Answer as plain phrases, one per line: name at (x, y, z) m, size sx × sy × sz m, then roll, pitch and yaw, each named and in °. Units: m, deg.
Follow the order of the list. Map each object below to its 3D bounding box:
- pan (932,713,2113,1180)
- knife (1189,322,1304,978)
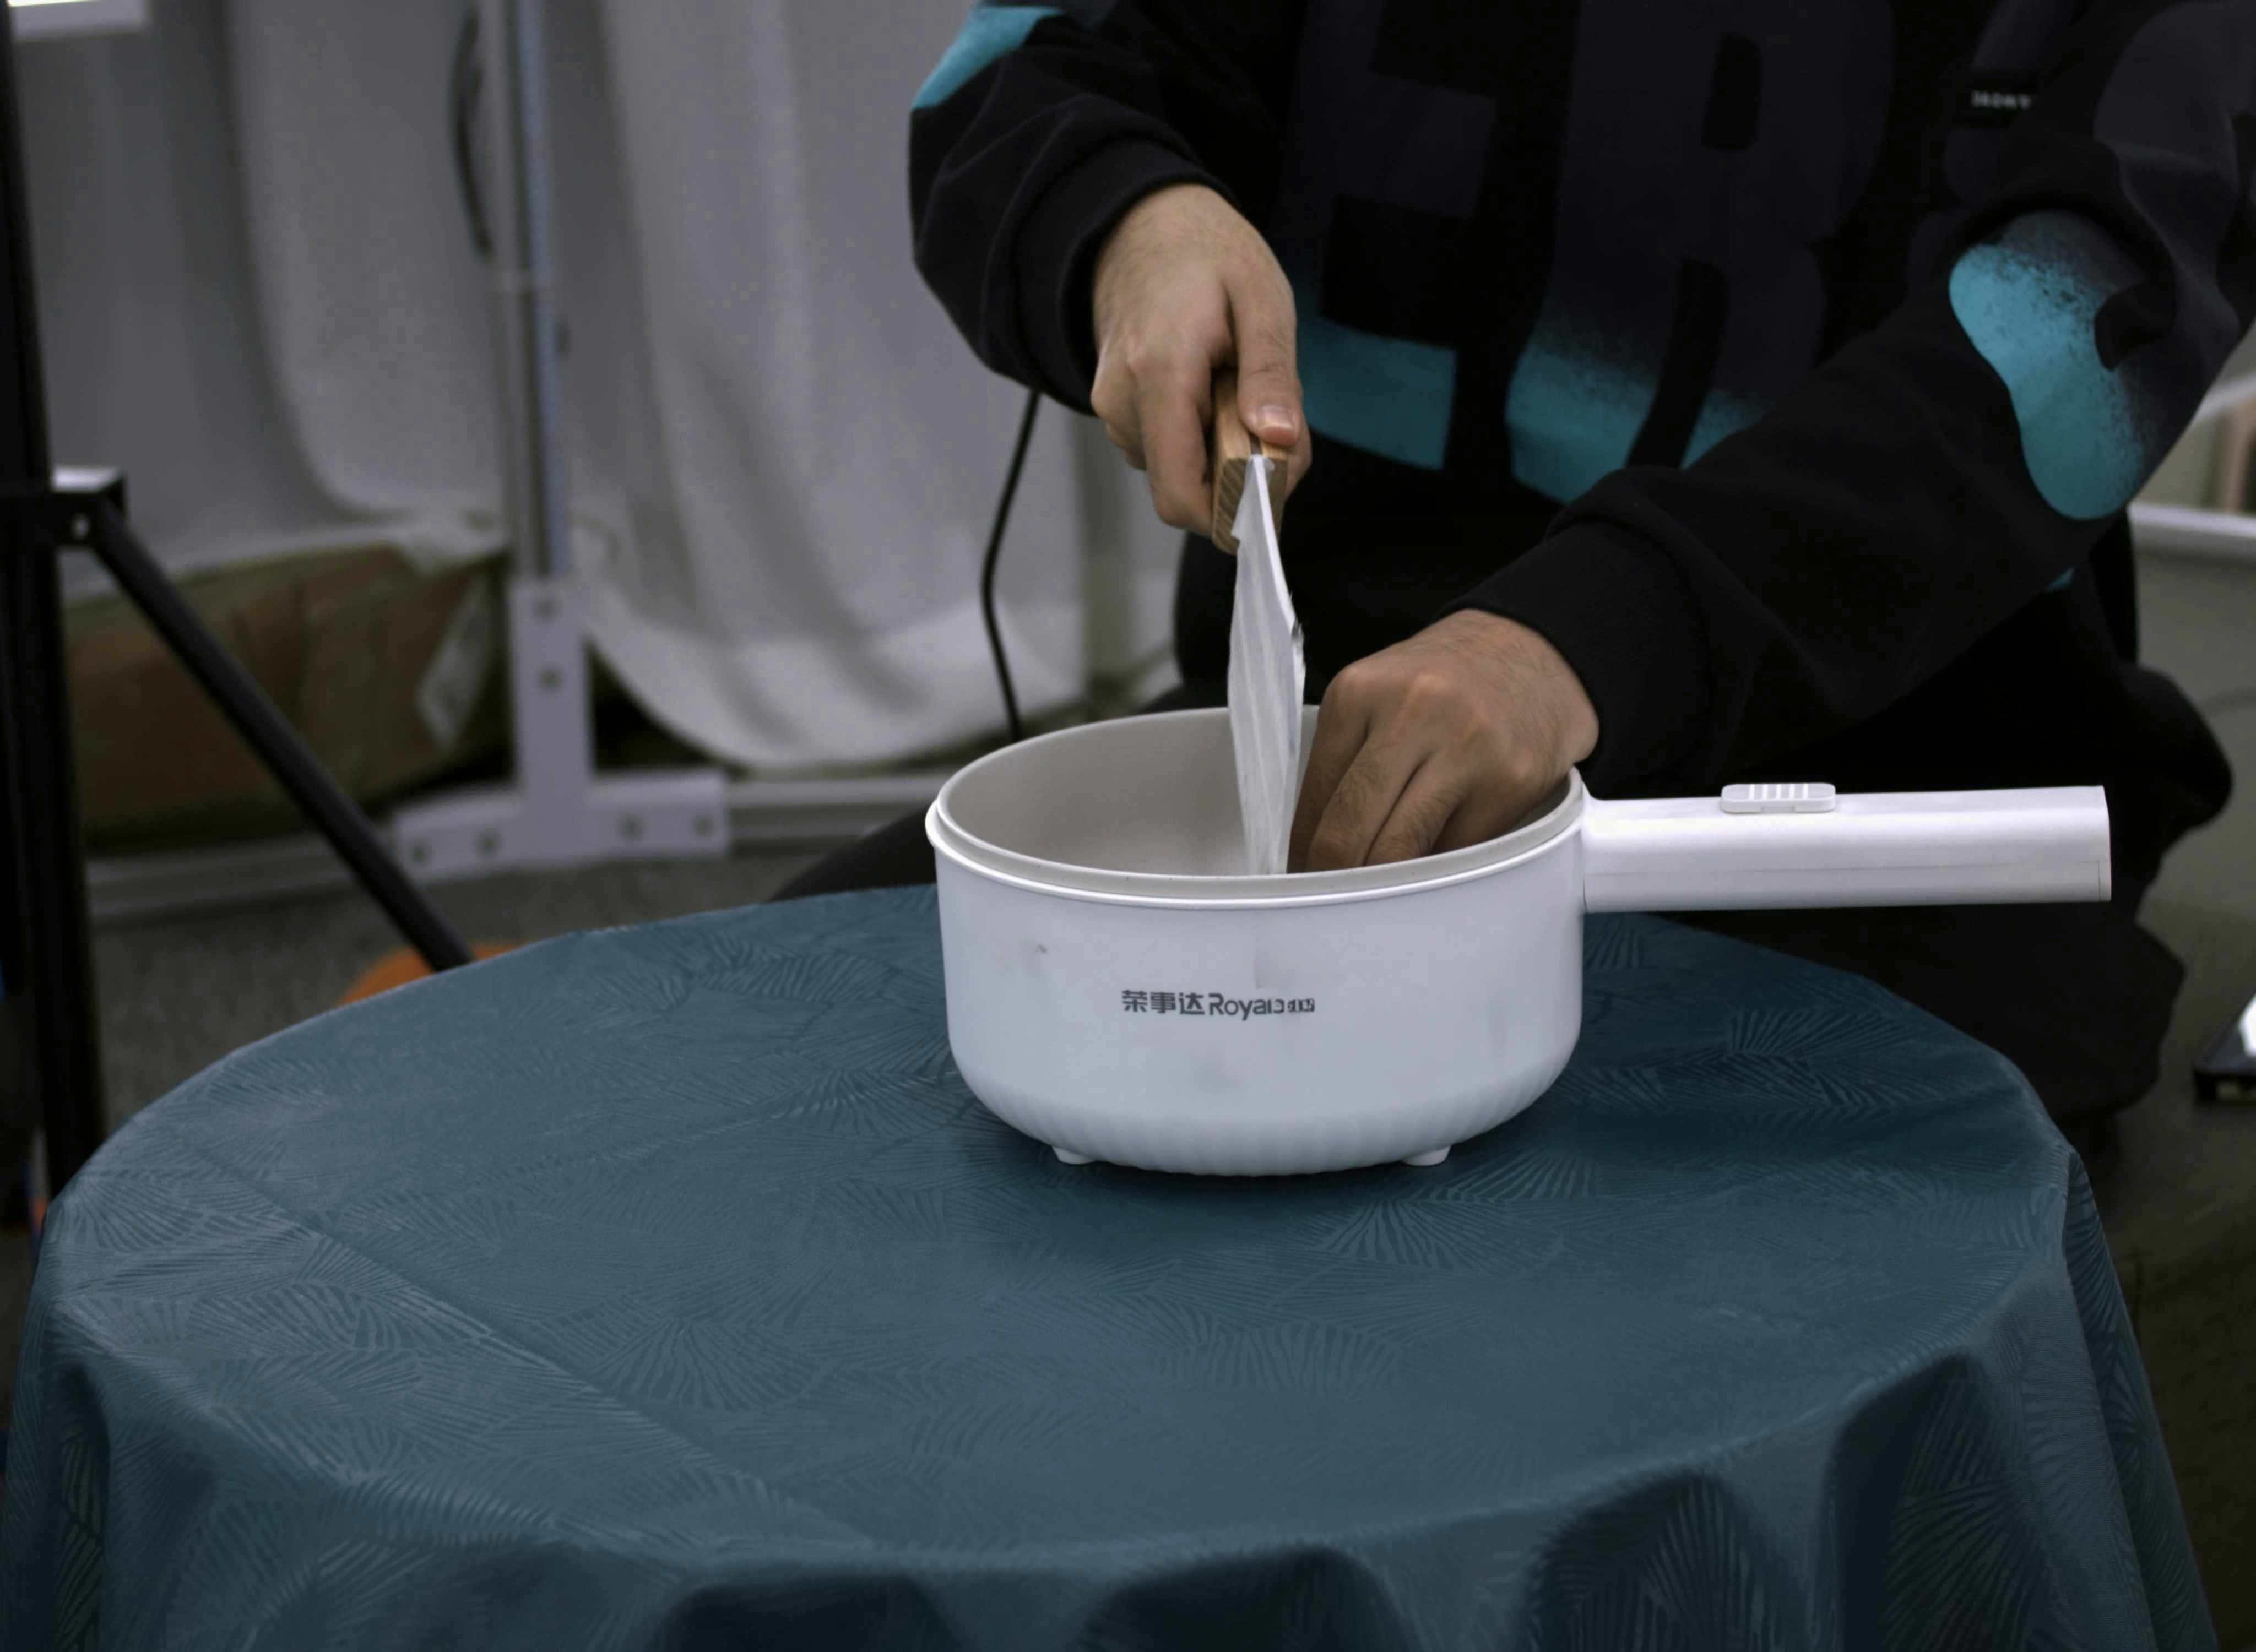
pan at (0.118, 0.039, 1.603) m, size 0.356 × 0.102 × 0.200 m, roll 1°, pitch 15°, yaw 9°
knife at (0.038, -0.072, 1.641) m, size 0.021 × 0.114 × 0.318 m, roll 4°, pitch 32°, yaw -5°
